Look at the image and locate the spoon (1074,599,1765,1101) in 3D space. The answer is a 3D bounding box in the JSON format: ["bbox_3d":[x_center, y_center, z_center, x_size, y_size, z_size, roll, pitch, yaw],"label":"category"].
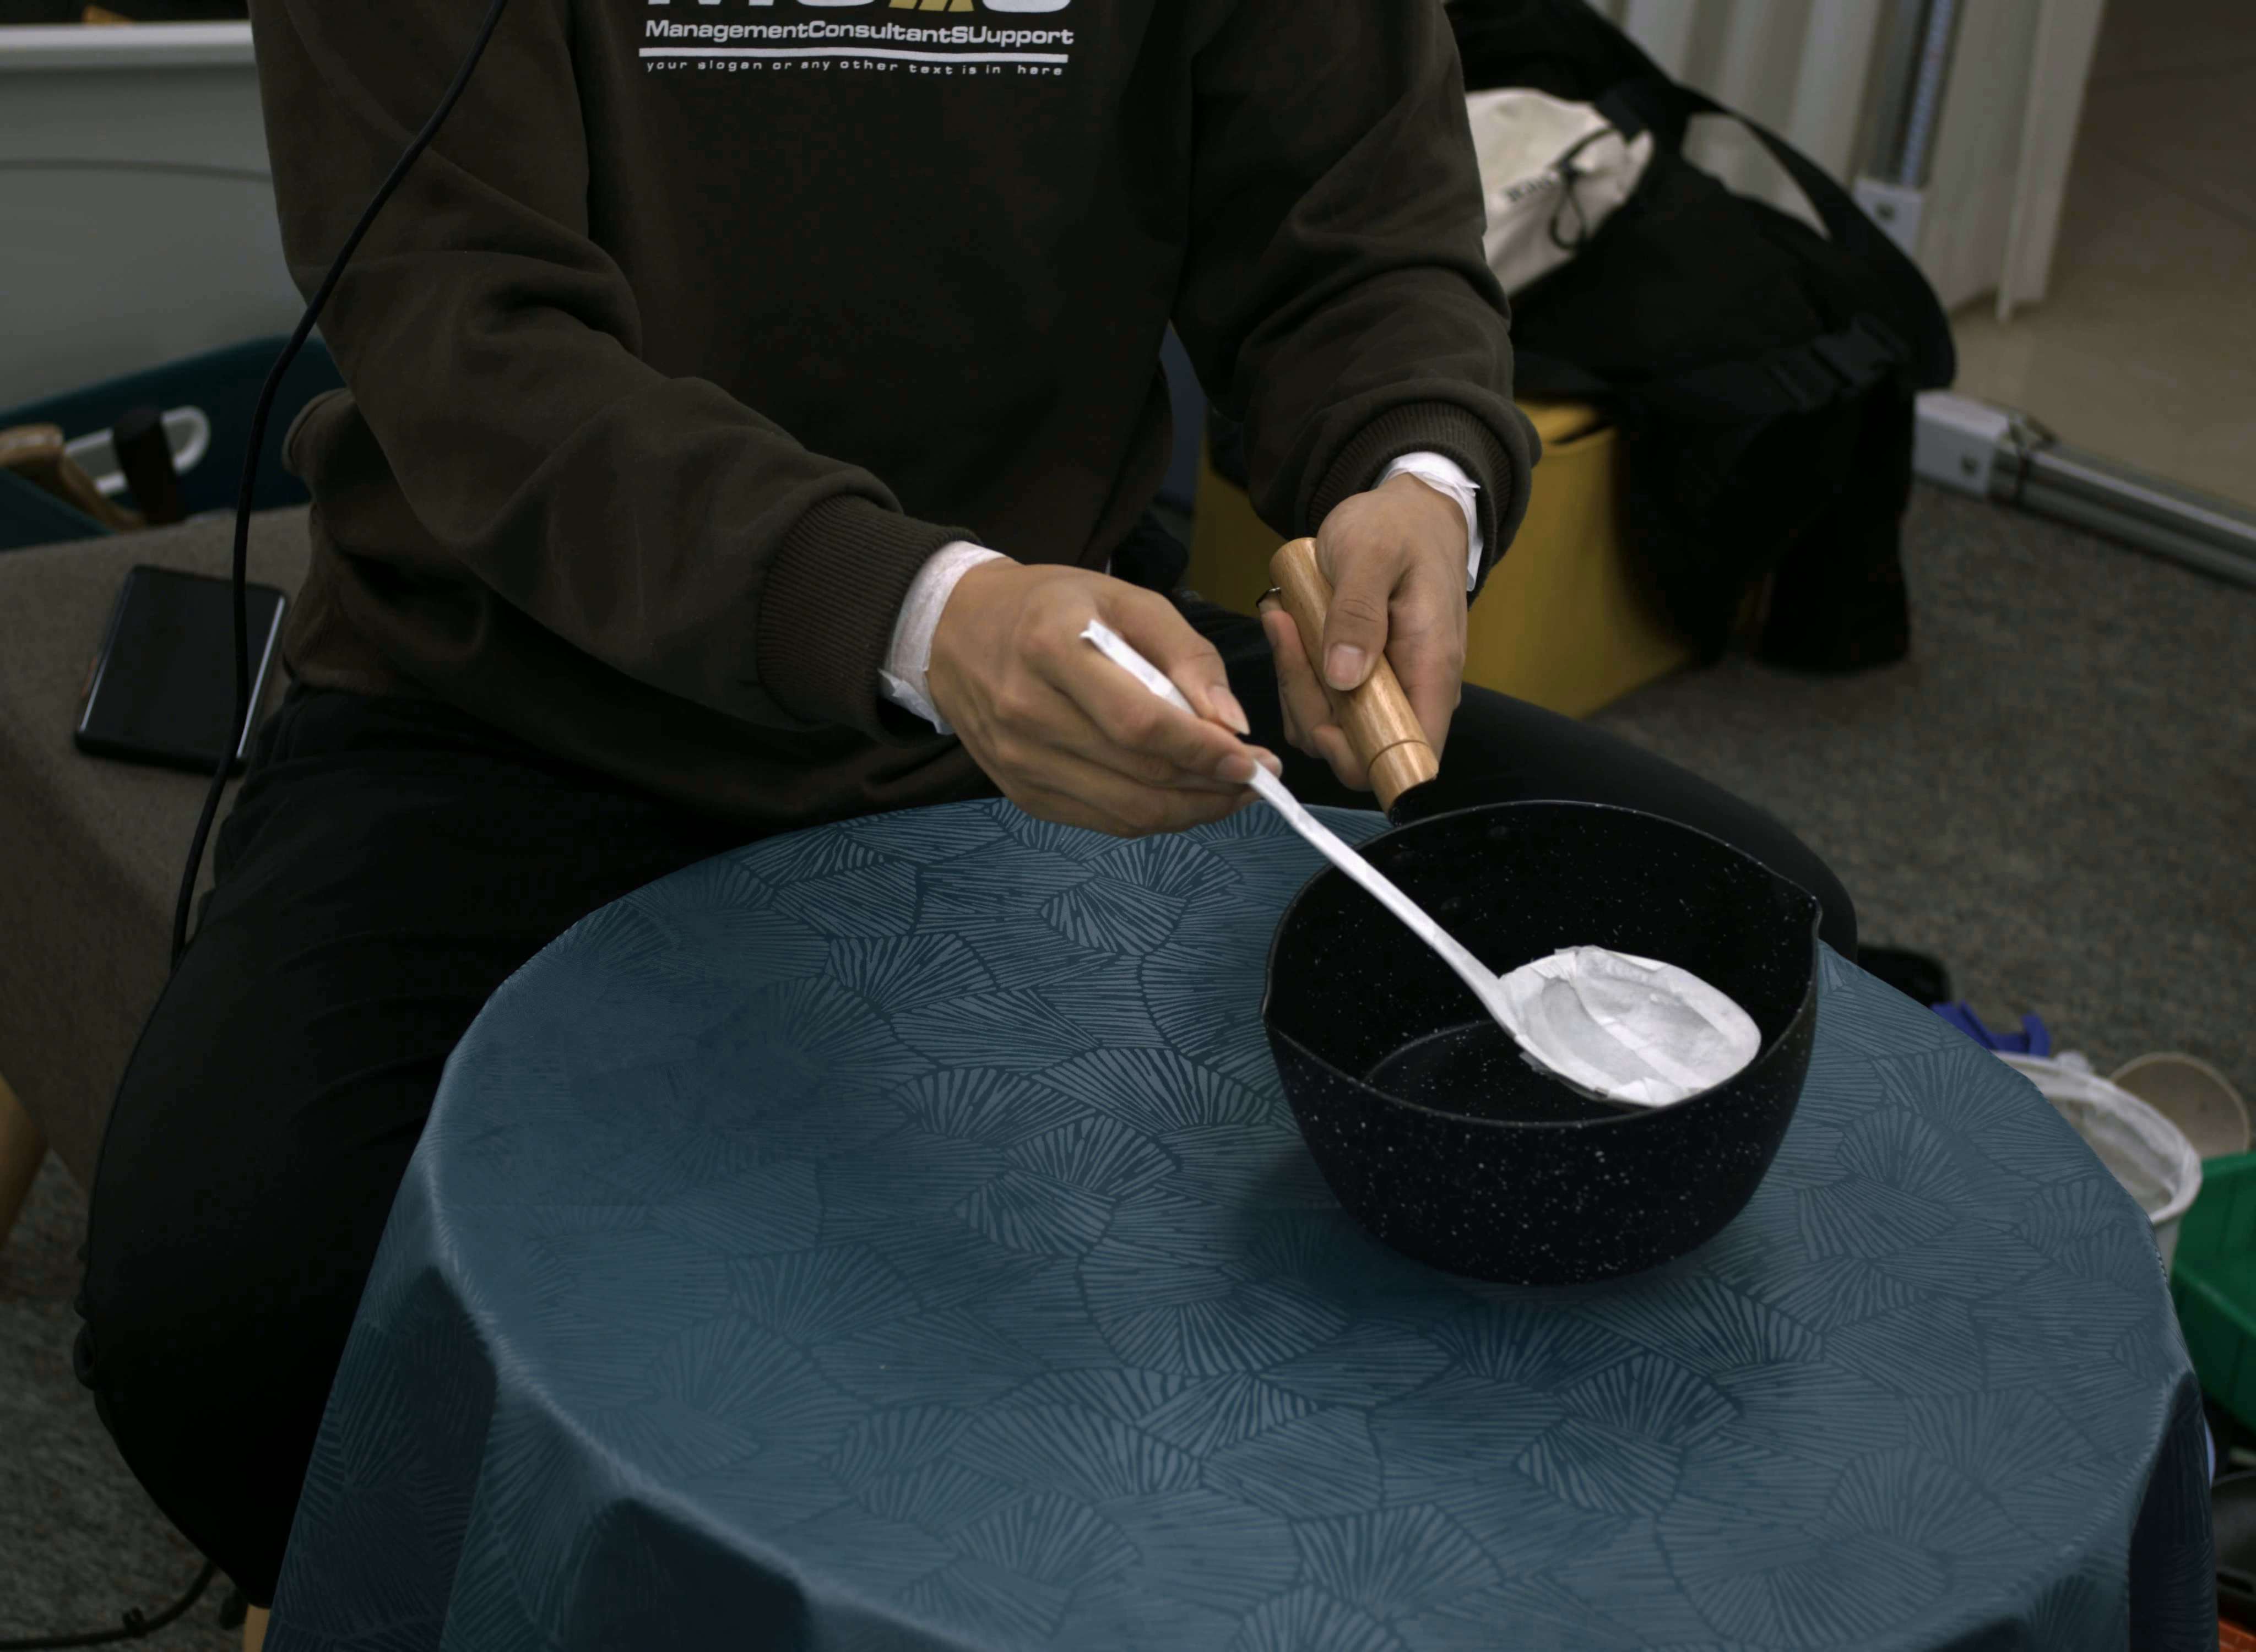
[{"bbox_3d":[0.099,0.001,1.767,0.276,0.059,0.101,43,22,-14],"label":"spoon"}]

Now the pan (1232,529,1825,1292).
[{"bbox_3d":[0.115,0.026,1.863,0.206,0.107,0.346,-14,37,-12],"label":"pan"}]
